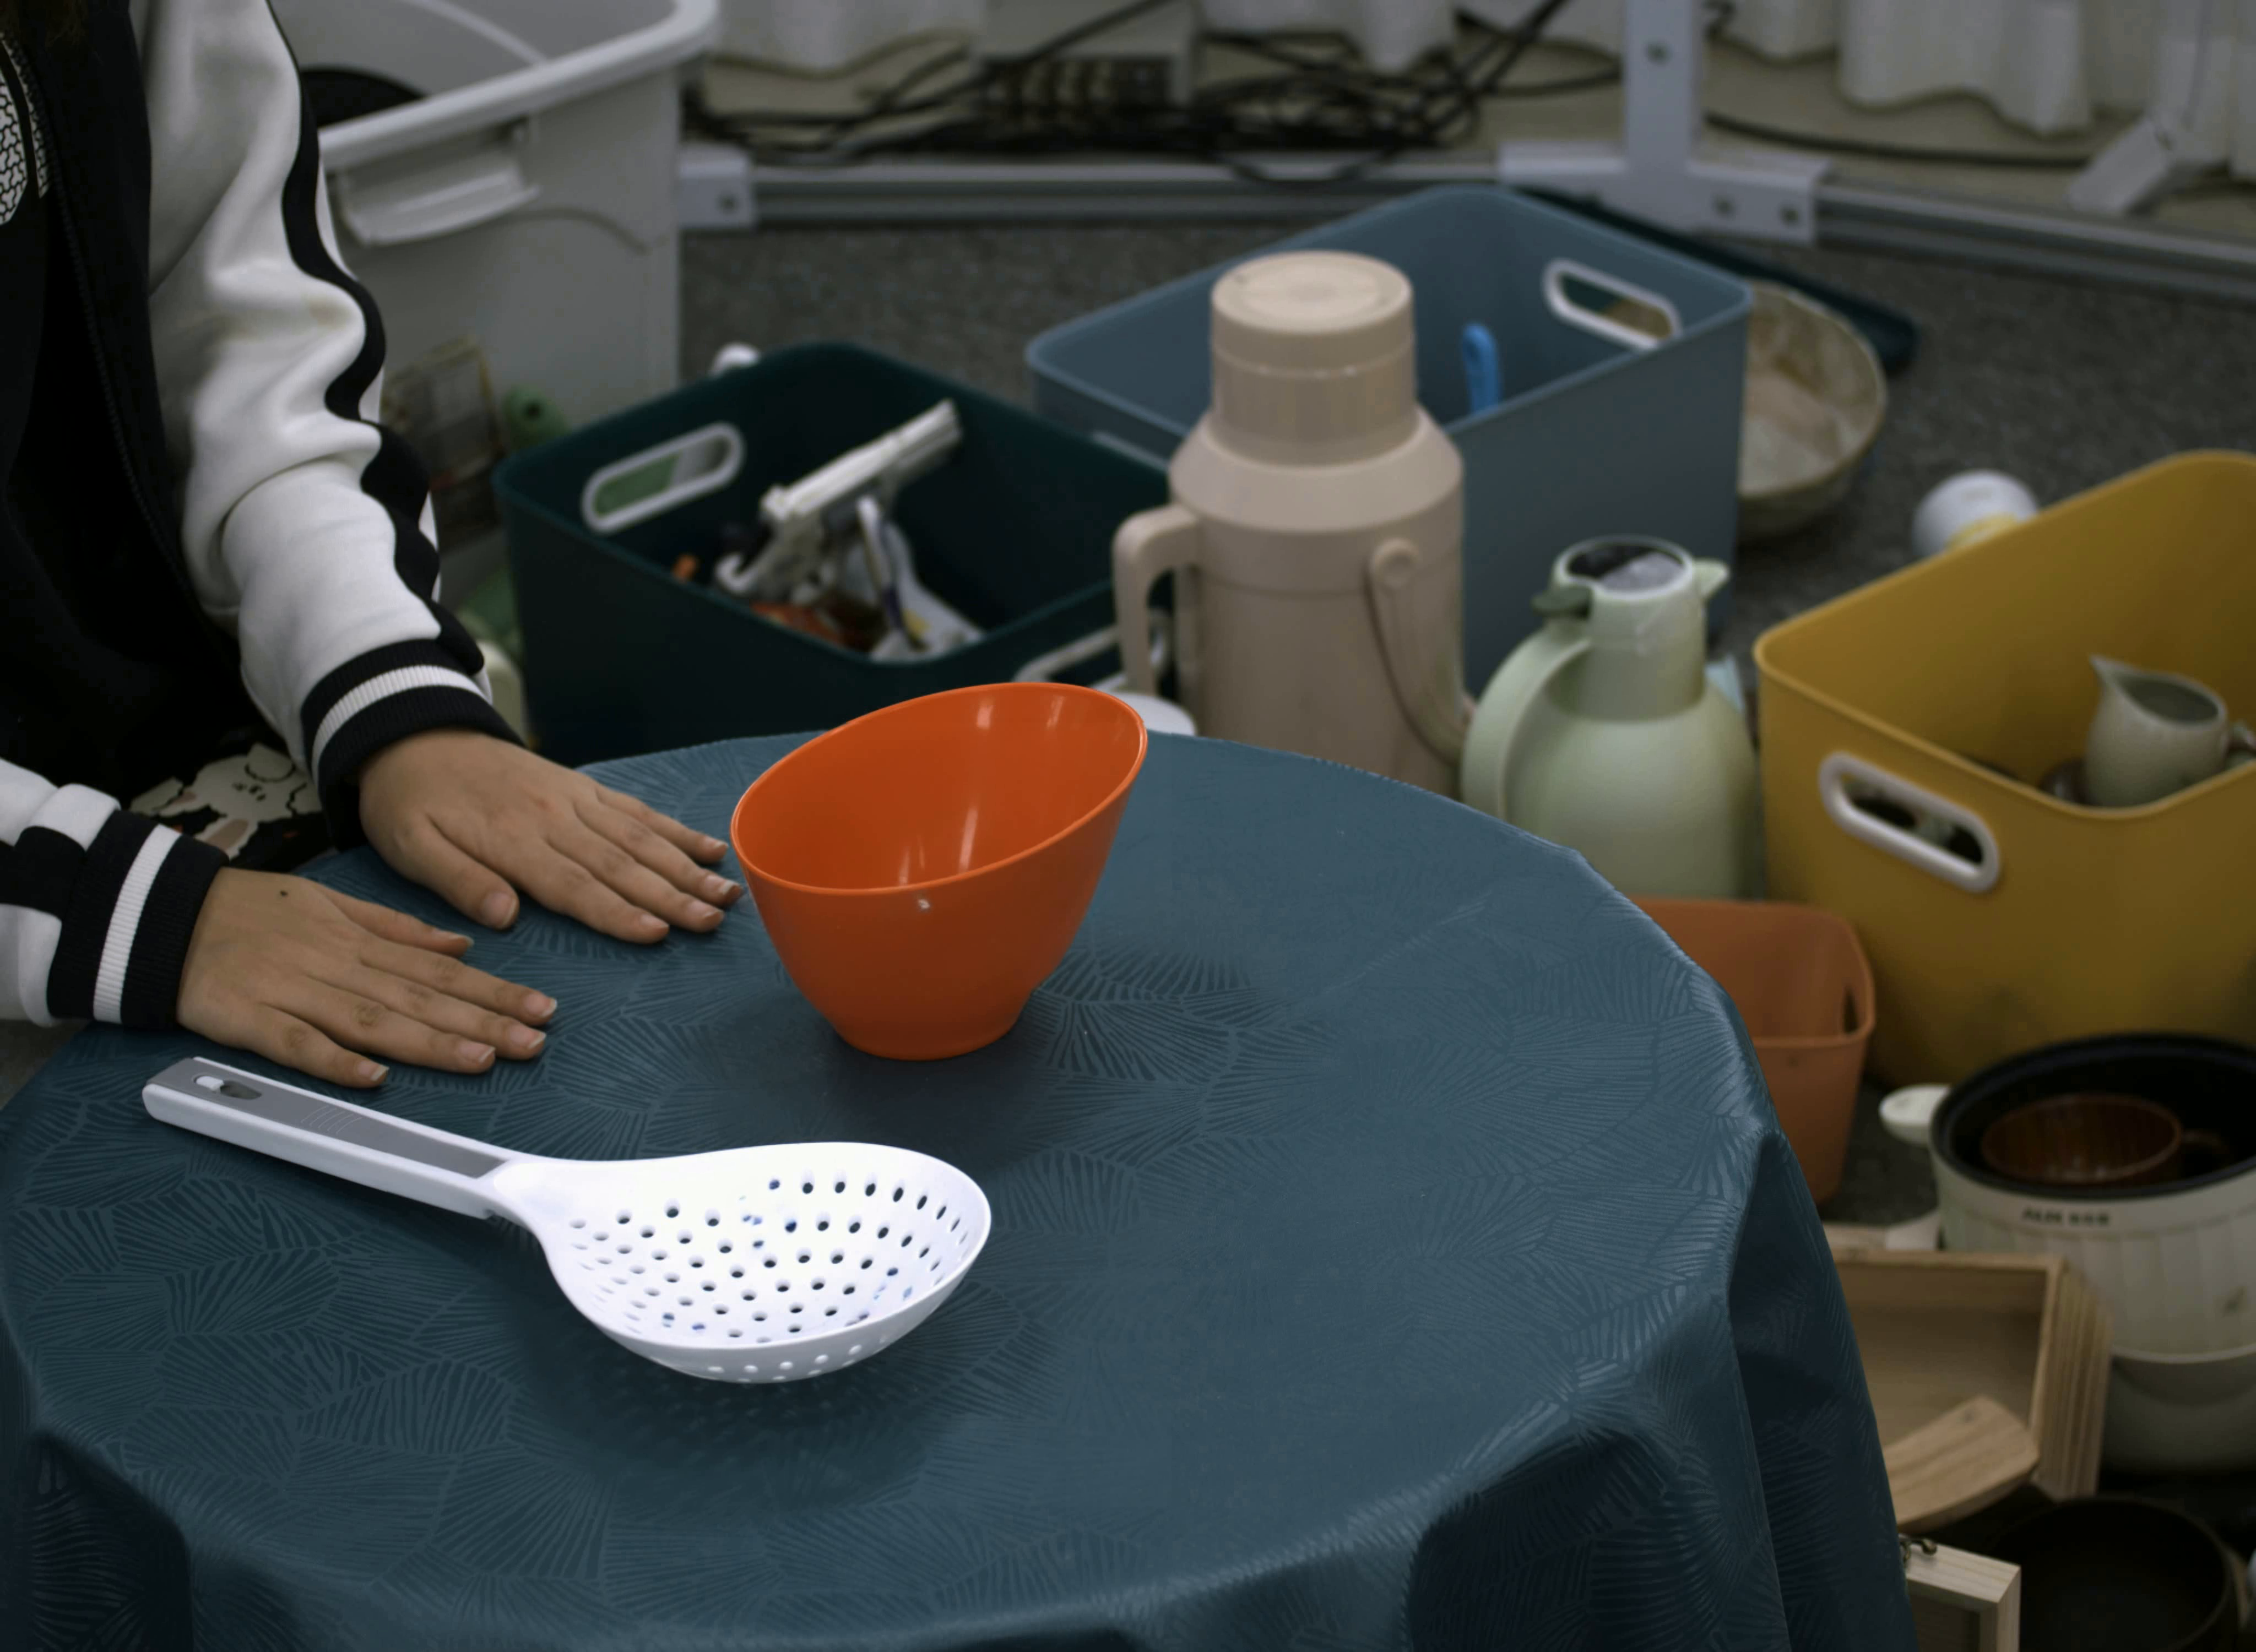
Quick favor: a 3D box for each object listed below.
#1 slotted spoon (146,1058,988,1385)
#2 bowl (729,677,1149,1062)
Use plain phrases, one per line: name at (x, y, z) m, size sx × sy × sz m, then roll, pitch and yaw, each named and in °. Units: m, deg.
slotted spoon at (-0.195, 0.121, 1.834) m, size 0.348 × 0.045 × 0.138 m, roll 17°, pitch 31°, yaw 34°
bowl at (-0.062, 0.022, 1.950) m, size 0.147 × 0.103 × 0.150 m, roll -3°, pitch 30°, yaw 2°
